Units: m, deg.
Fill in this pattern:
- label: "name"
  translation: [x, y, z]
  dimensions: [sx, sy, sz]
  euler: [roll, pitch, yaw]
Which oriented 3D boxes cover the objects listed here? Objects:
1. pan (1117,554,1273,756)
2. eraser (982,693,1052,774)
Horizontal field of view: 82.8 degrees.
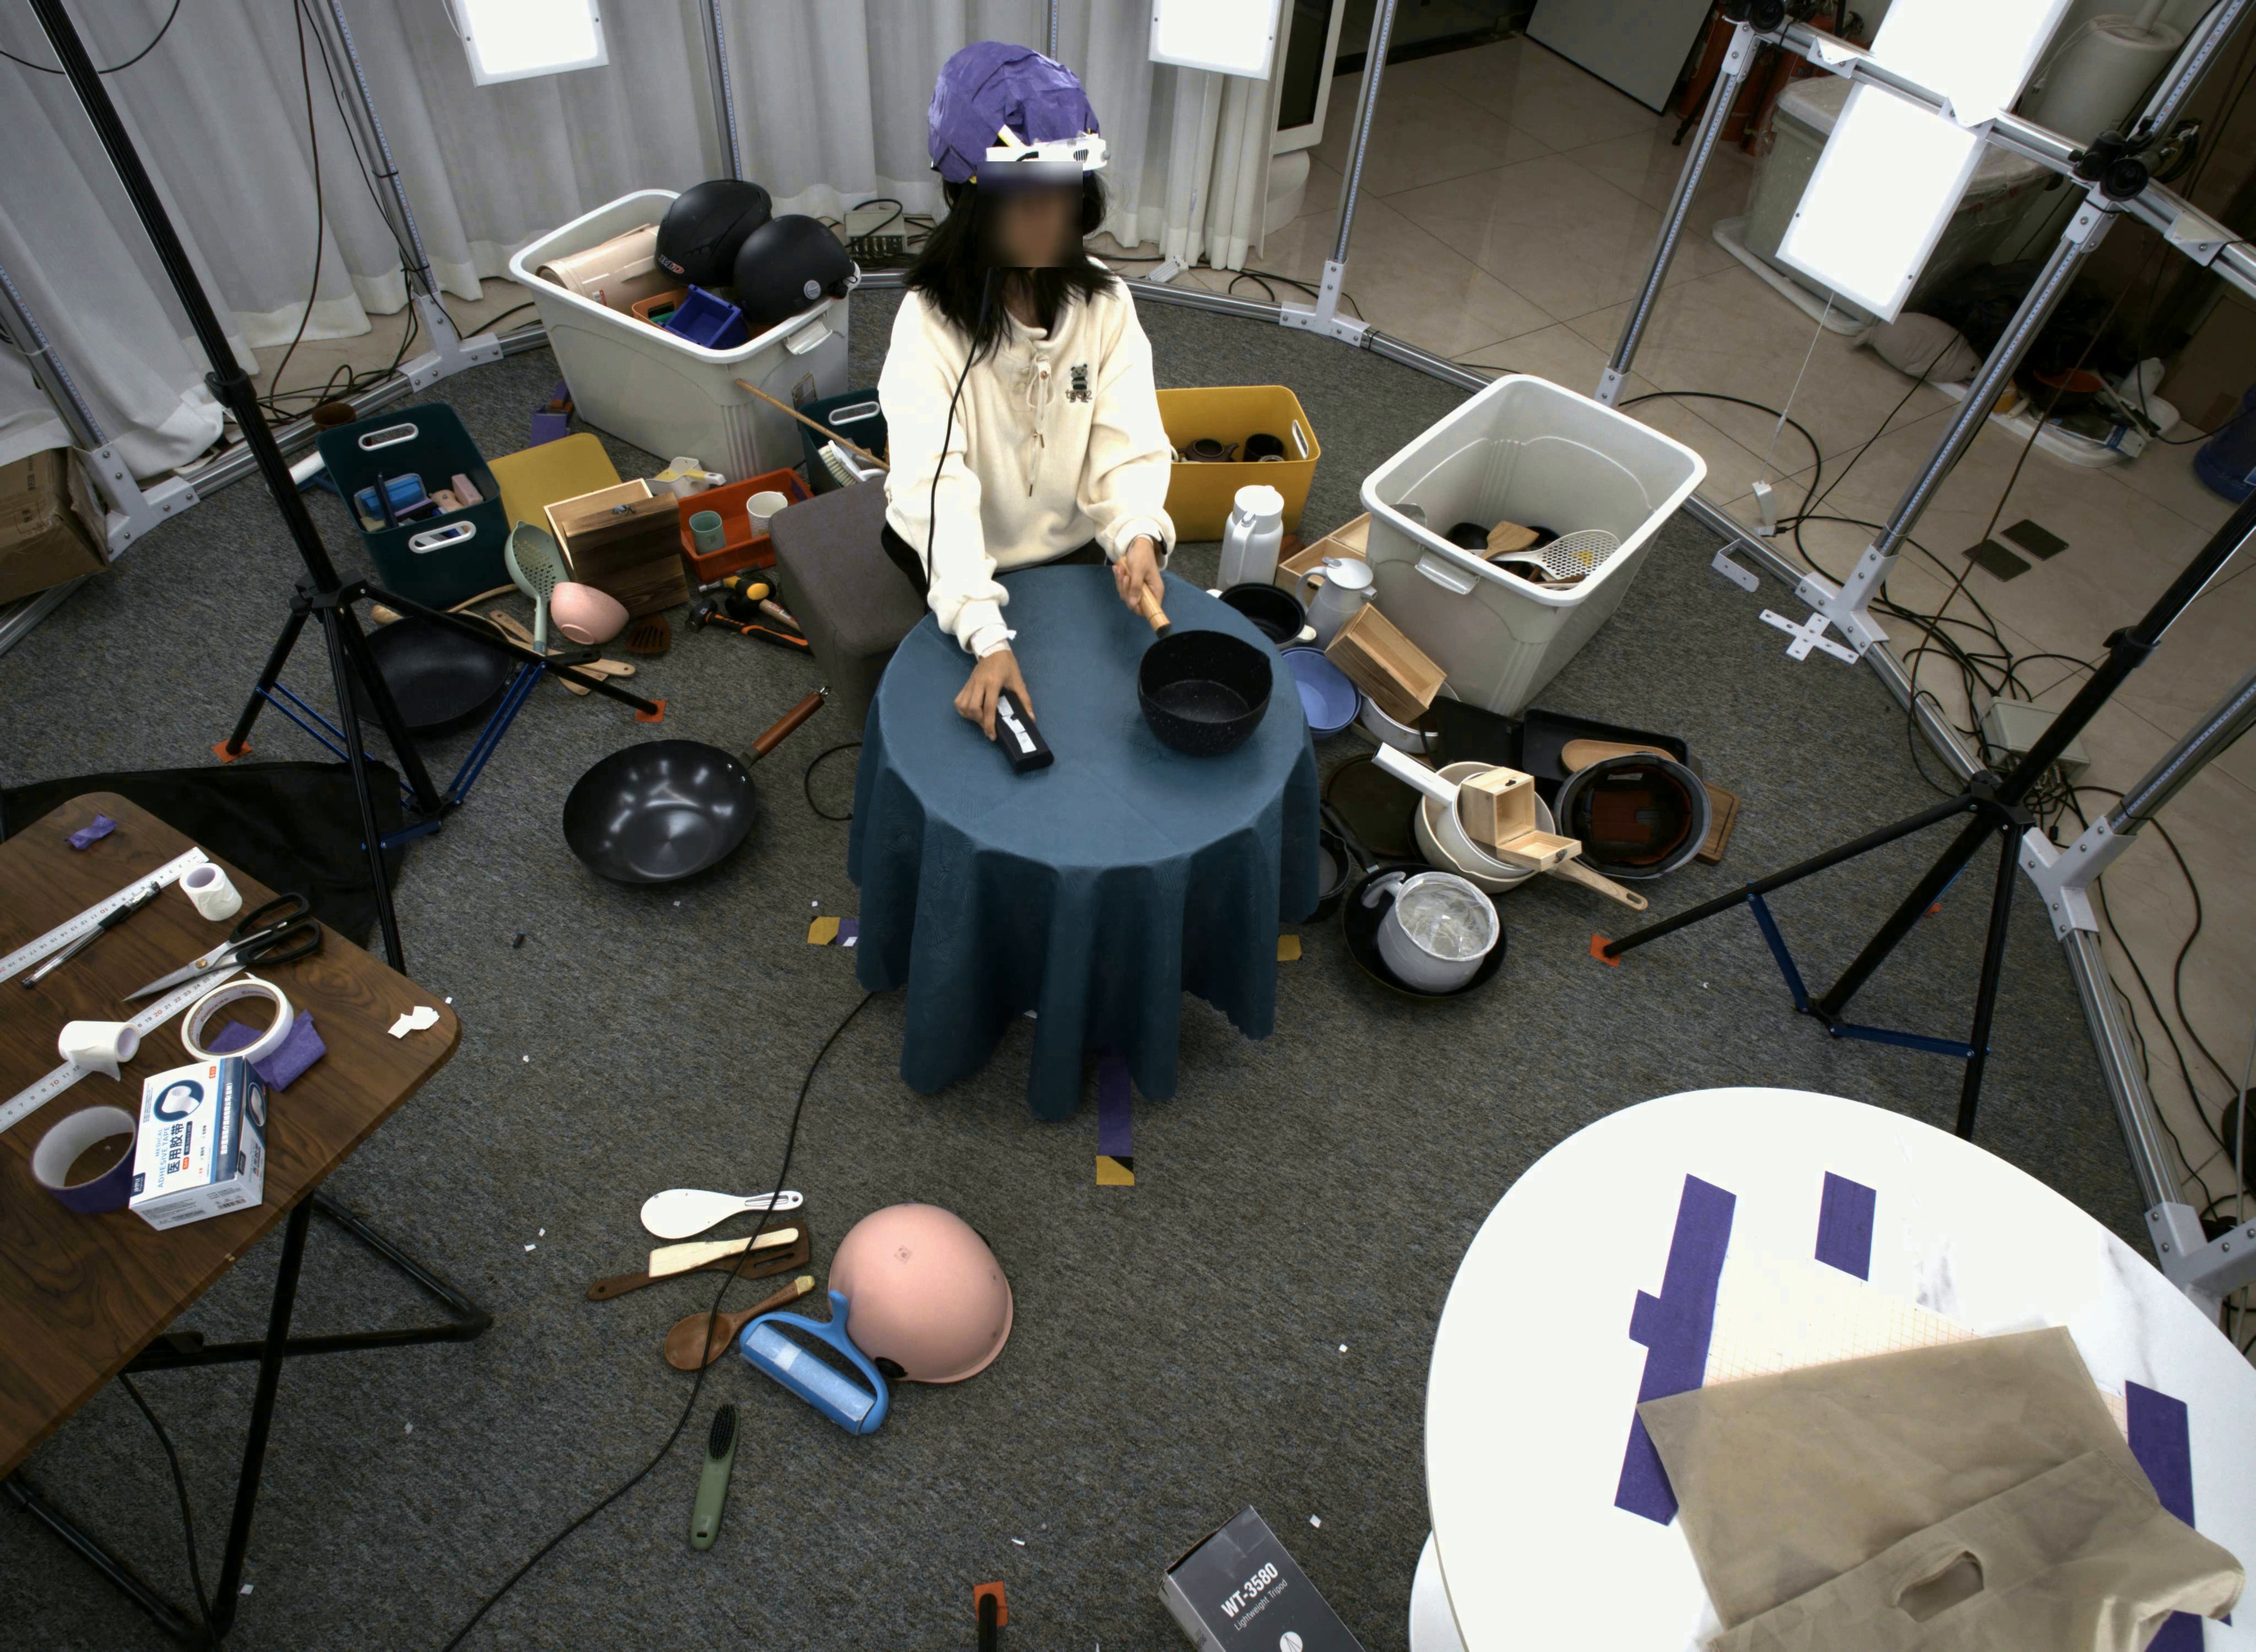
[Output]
- label: "pan"
  translation: [0.066, -0.242, 1.811]
  dimensions: [0.208, 0.105, 0.350]
  euler: [-20, 54, -21]
- label: "eraser"
  translation: [-0.151, -0.127, 1.750]
  dimensions: [0.053, 0.030, 0.128]
  euler: [-18, 53, -18]
